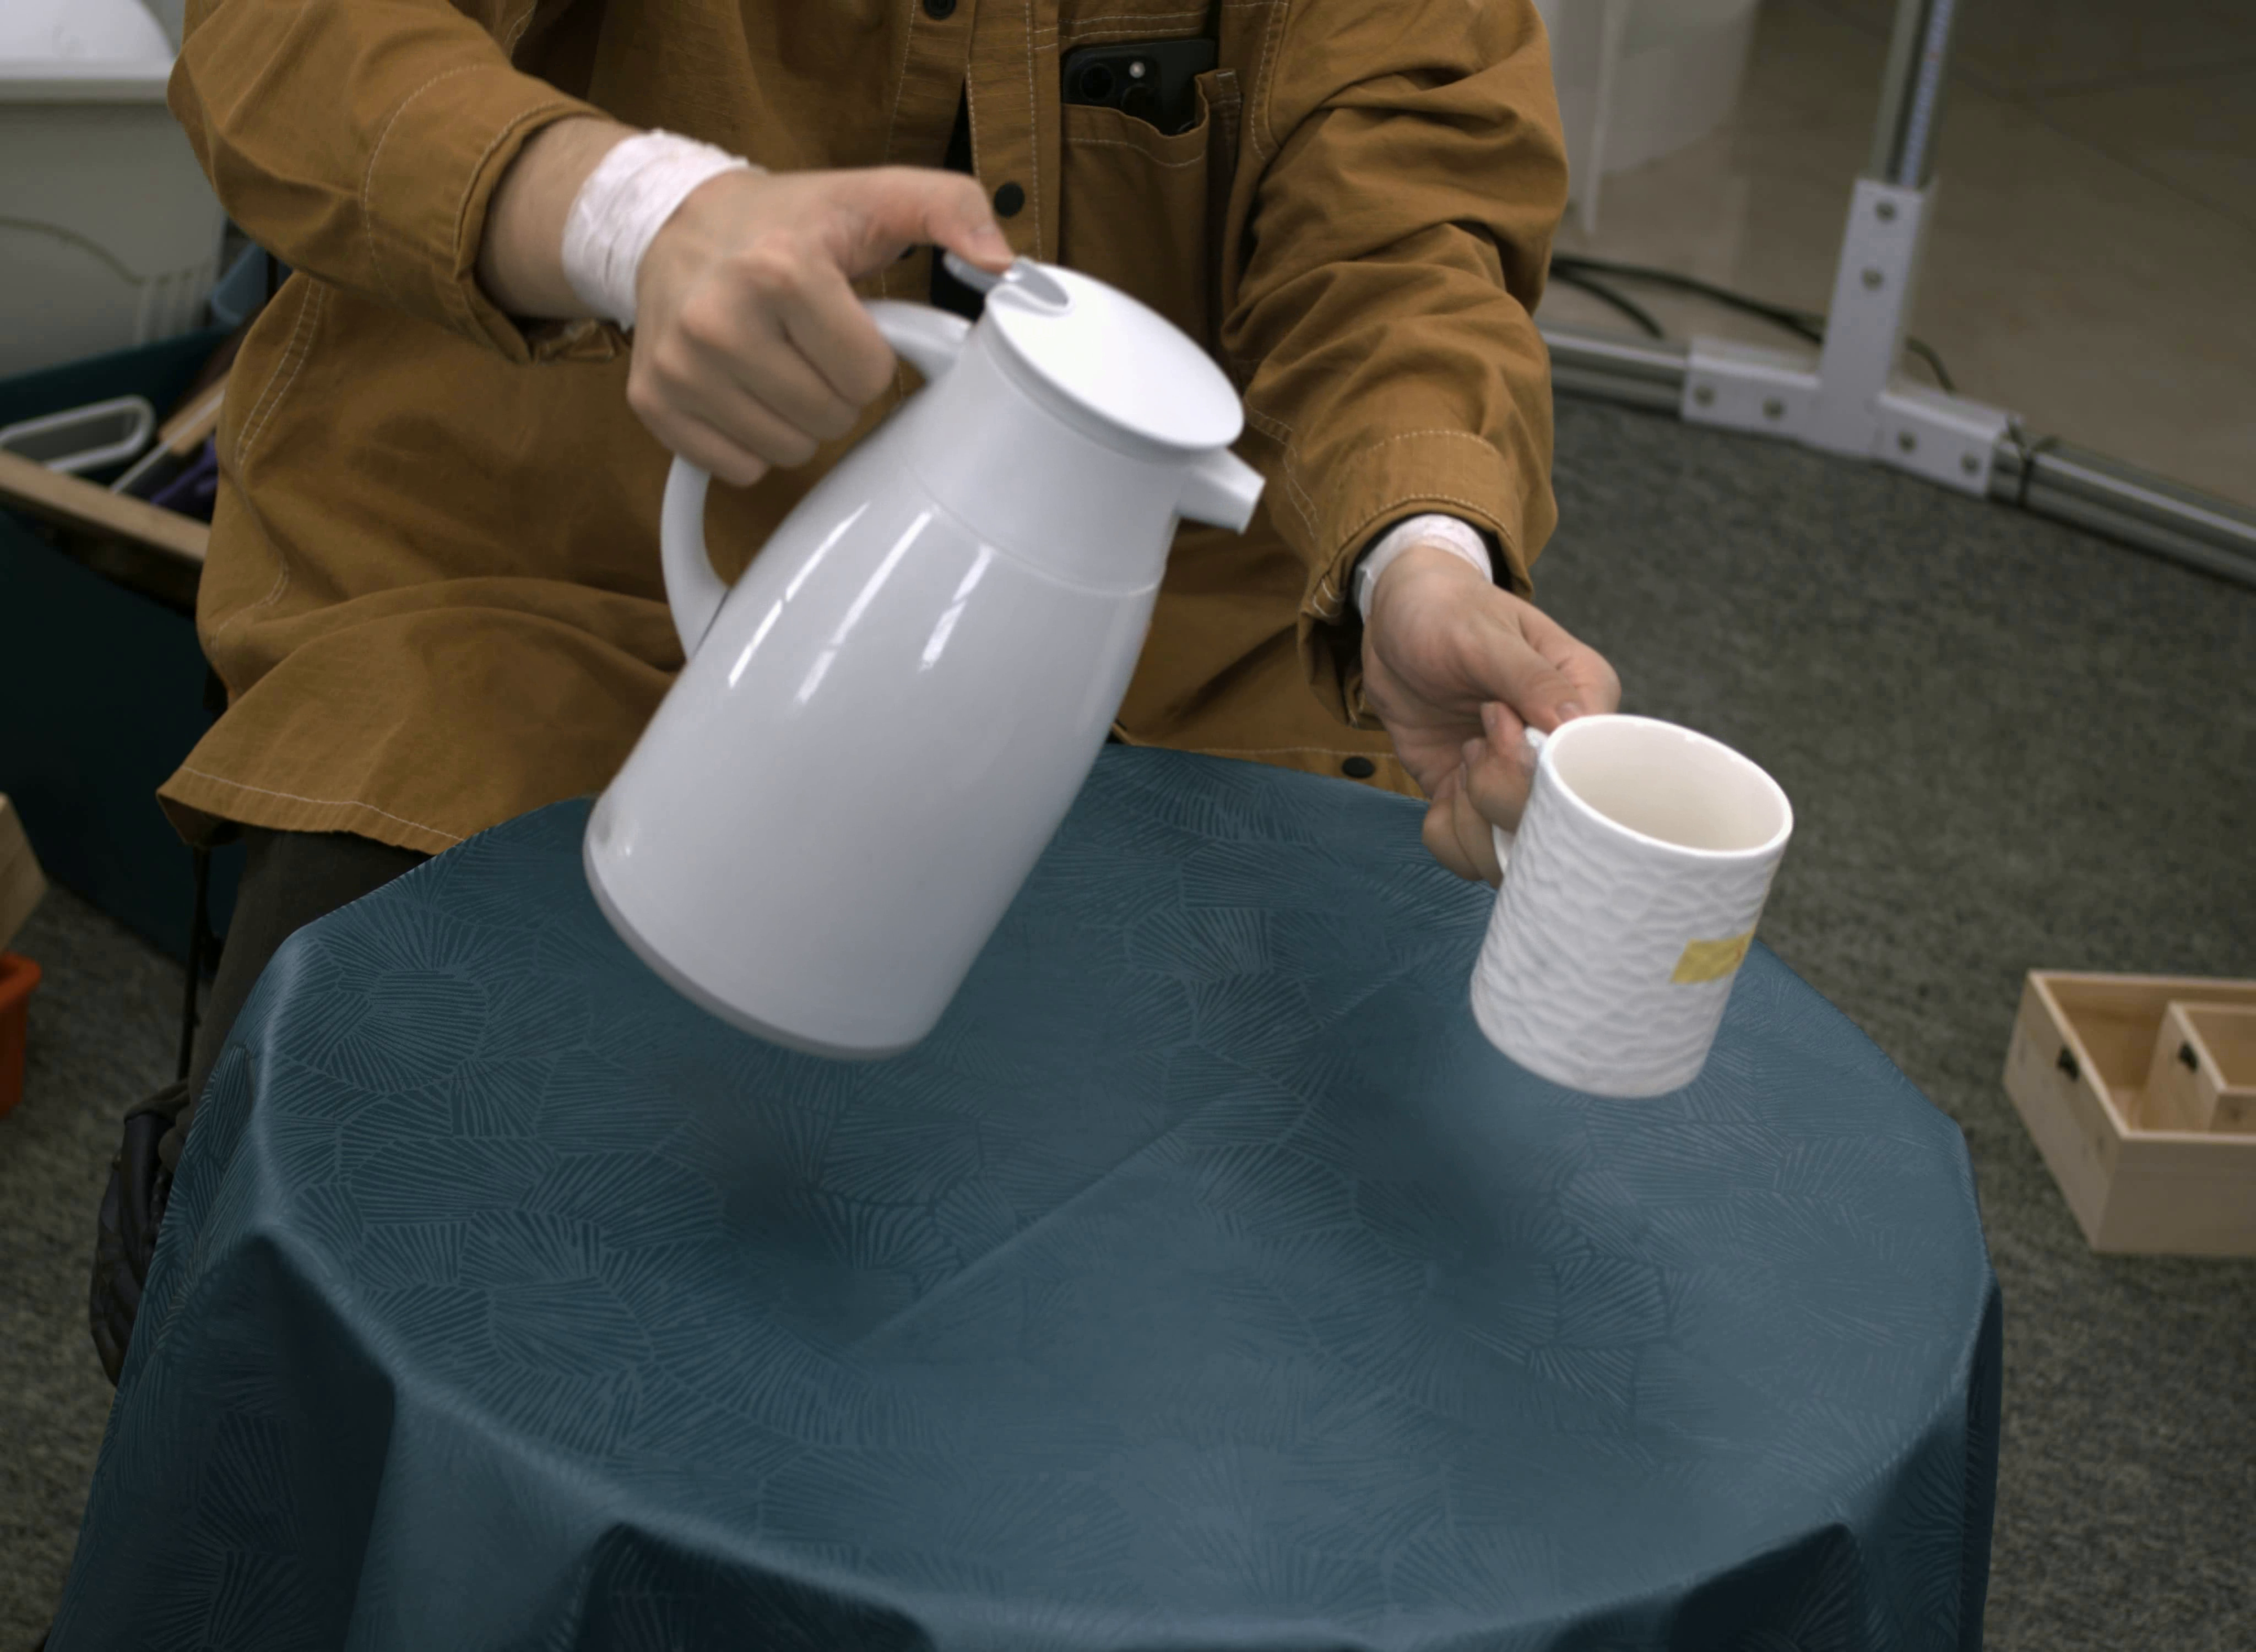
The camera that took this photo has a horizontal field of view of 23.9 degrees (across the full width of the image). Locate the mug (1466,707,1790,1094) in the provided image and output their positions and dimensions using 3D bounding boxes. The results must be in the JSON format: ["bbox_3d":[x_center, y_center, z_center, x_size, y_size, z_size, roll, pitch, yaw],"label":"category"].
[{"bbox_3d":[0.156,0.018,1.777,0.084,0.101,0.119,-4,34,-33],"label":"mug"}]

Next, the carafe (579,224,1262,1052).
[{"bbox_3d":[-0.078,-0.072,1.695,0.167,0.248,0.133,31,26,-3],"label":"carafe"}]
